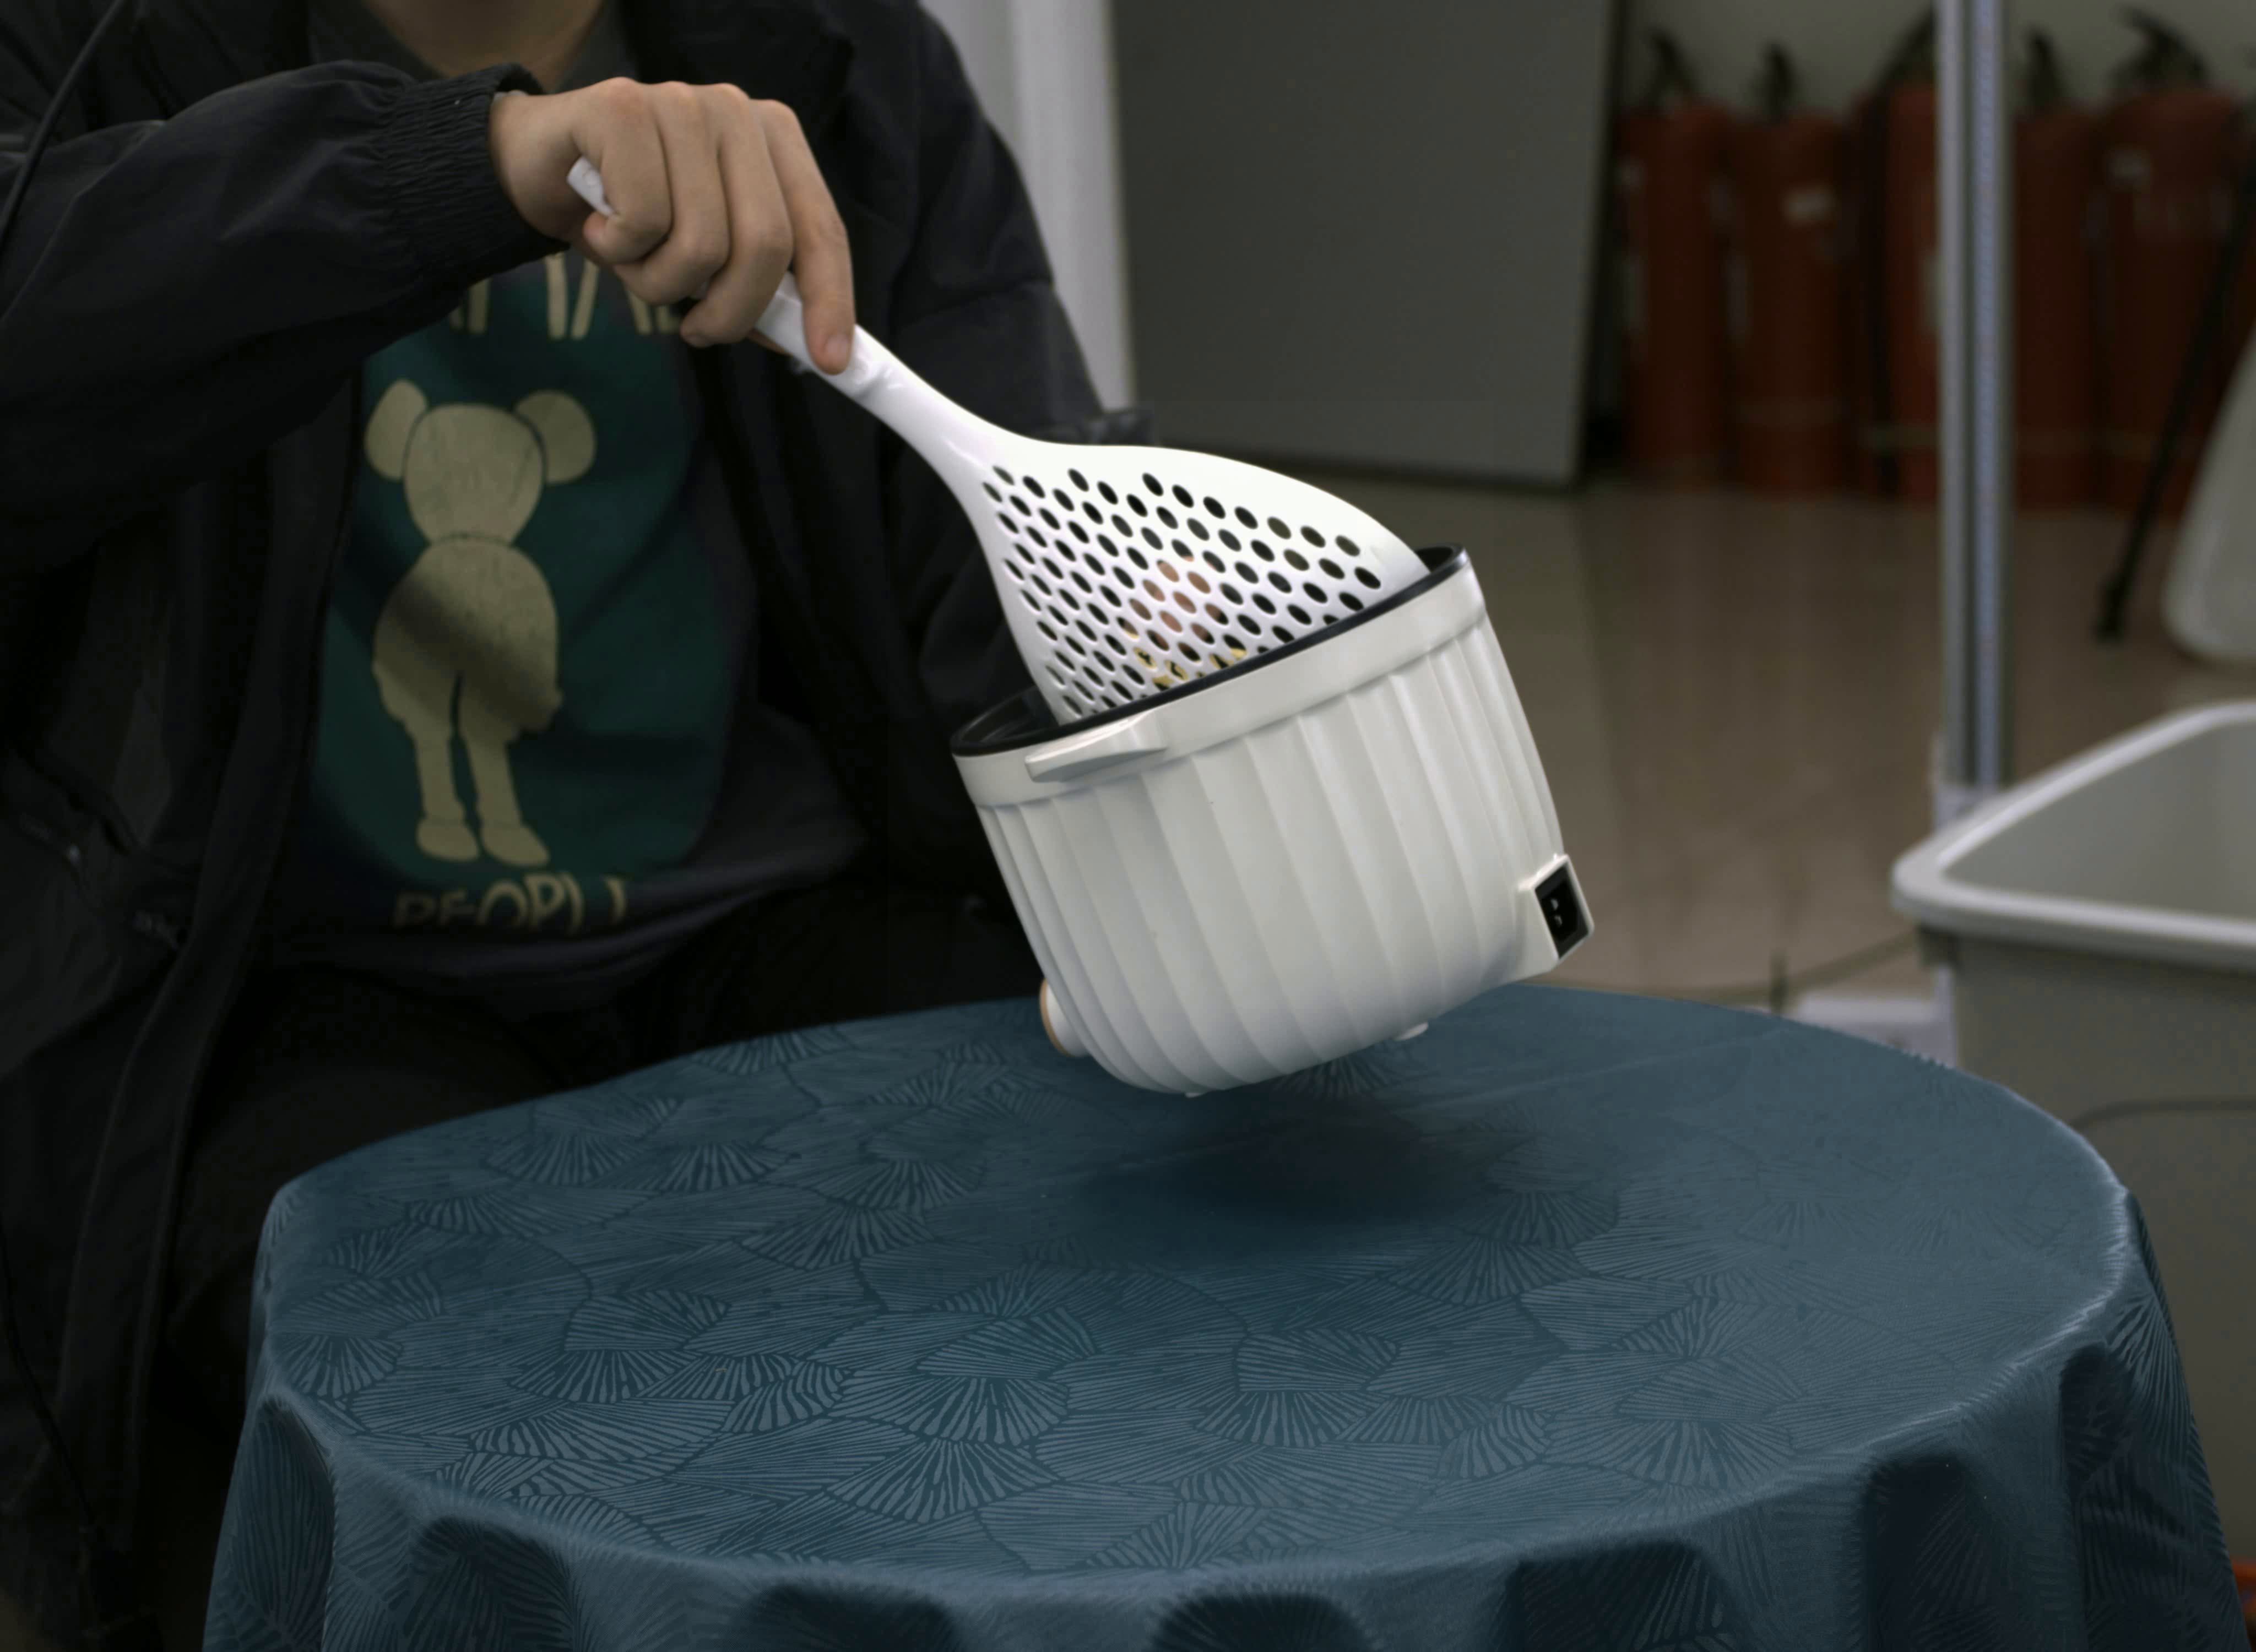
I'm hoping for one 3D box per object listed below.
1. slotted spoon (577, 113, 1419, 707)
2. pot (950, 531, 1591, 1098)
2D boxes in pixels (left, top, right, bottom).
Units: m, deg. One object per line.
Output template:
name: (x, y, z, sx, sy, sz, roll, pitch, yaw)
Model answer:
slotted spoon: (-0.045, -0.119, 1.788, 0.348, 0.138, 0.050, 40, 23, 8)
pot: (0.043, 0.002, 1.758, 0.191, 0.144, 0.237, -15, 8, 29)
